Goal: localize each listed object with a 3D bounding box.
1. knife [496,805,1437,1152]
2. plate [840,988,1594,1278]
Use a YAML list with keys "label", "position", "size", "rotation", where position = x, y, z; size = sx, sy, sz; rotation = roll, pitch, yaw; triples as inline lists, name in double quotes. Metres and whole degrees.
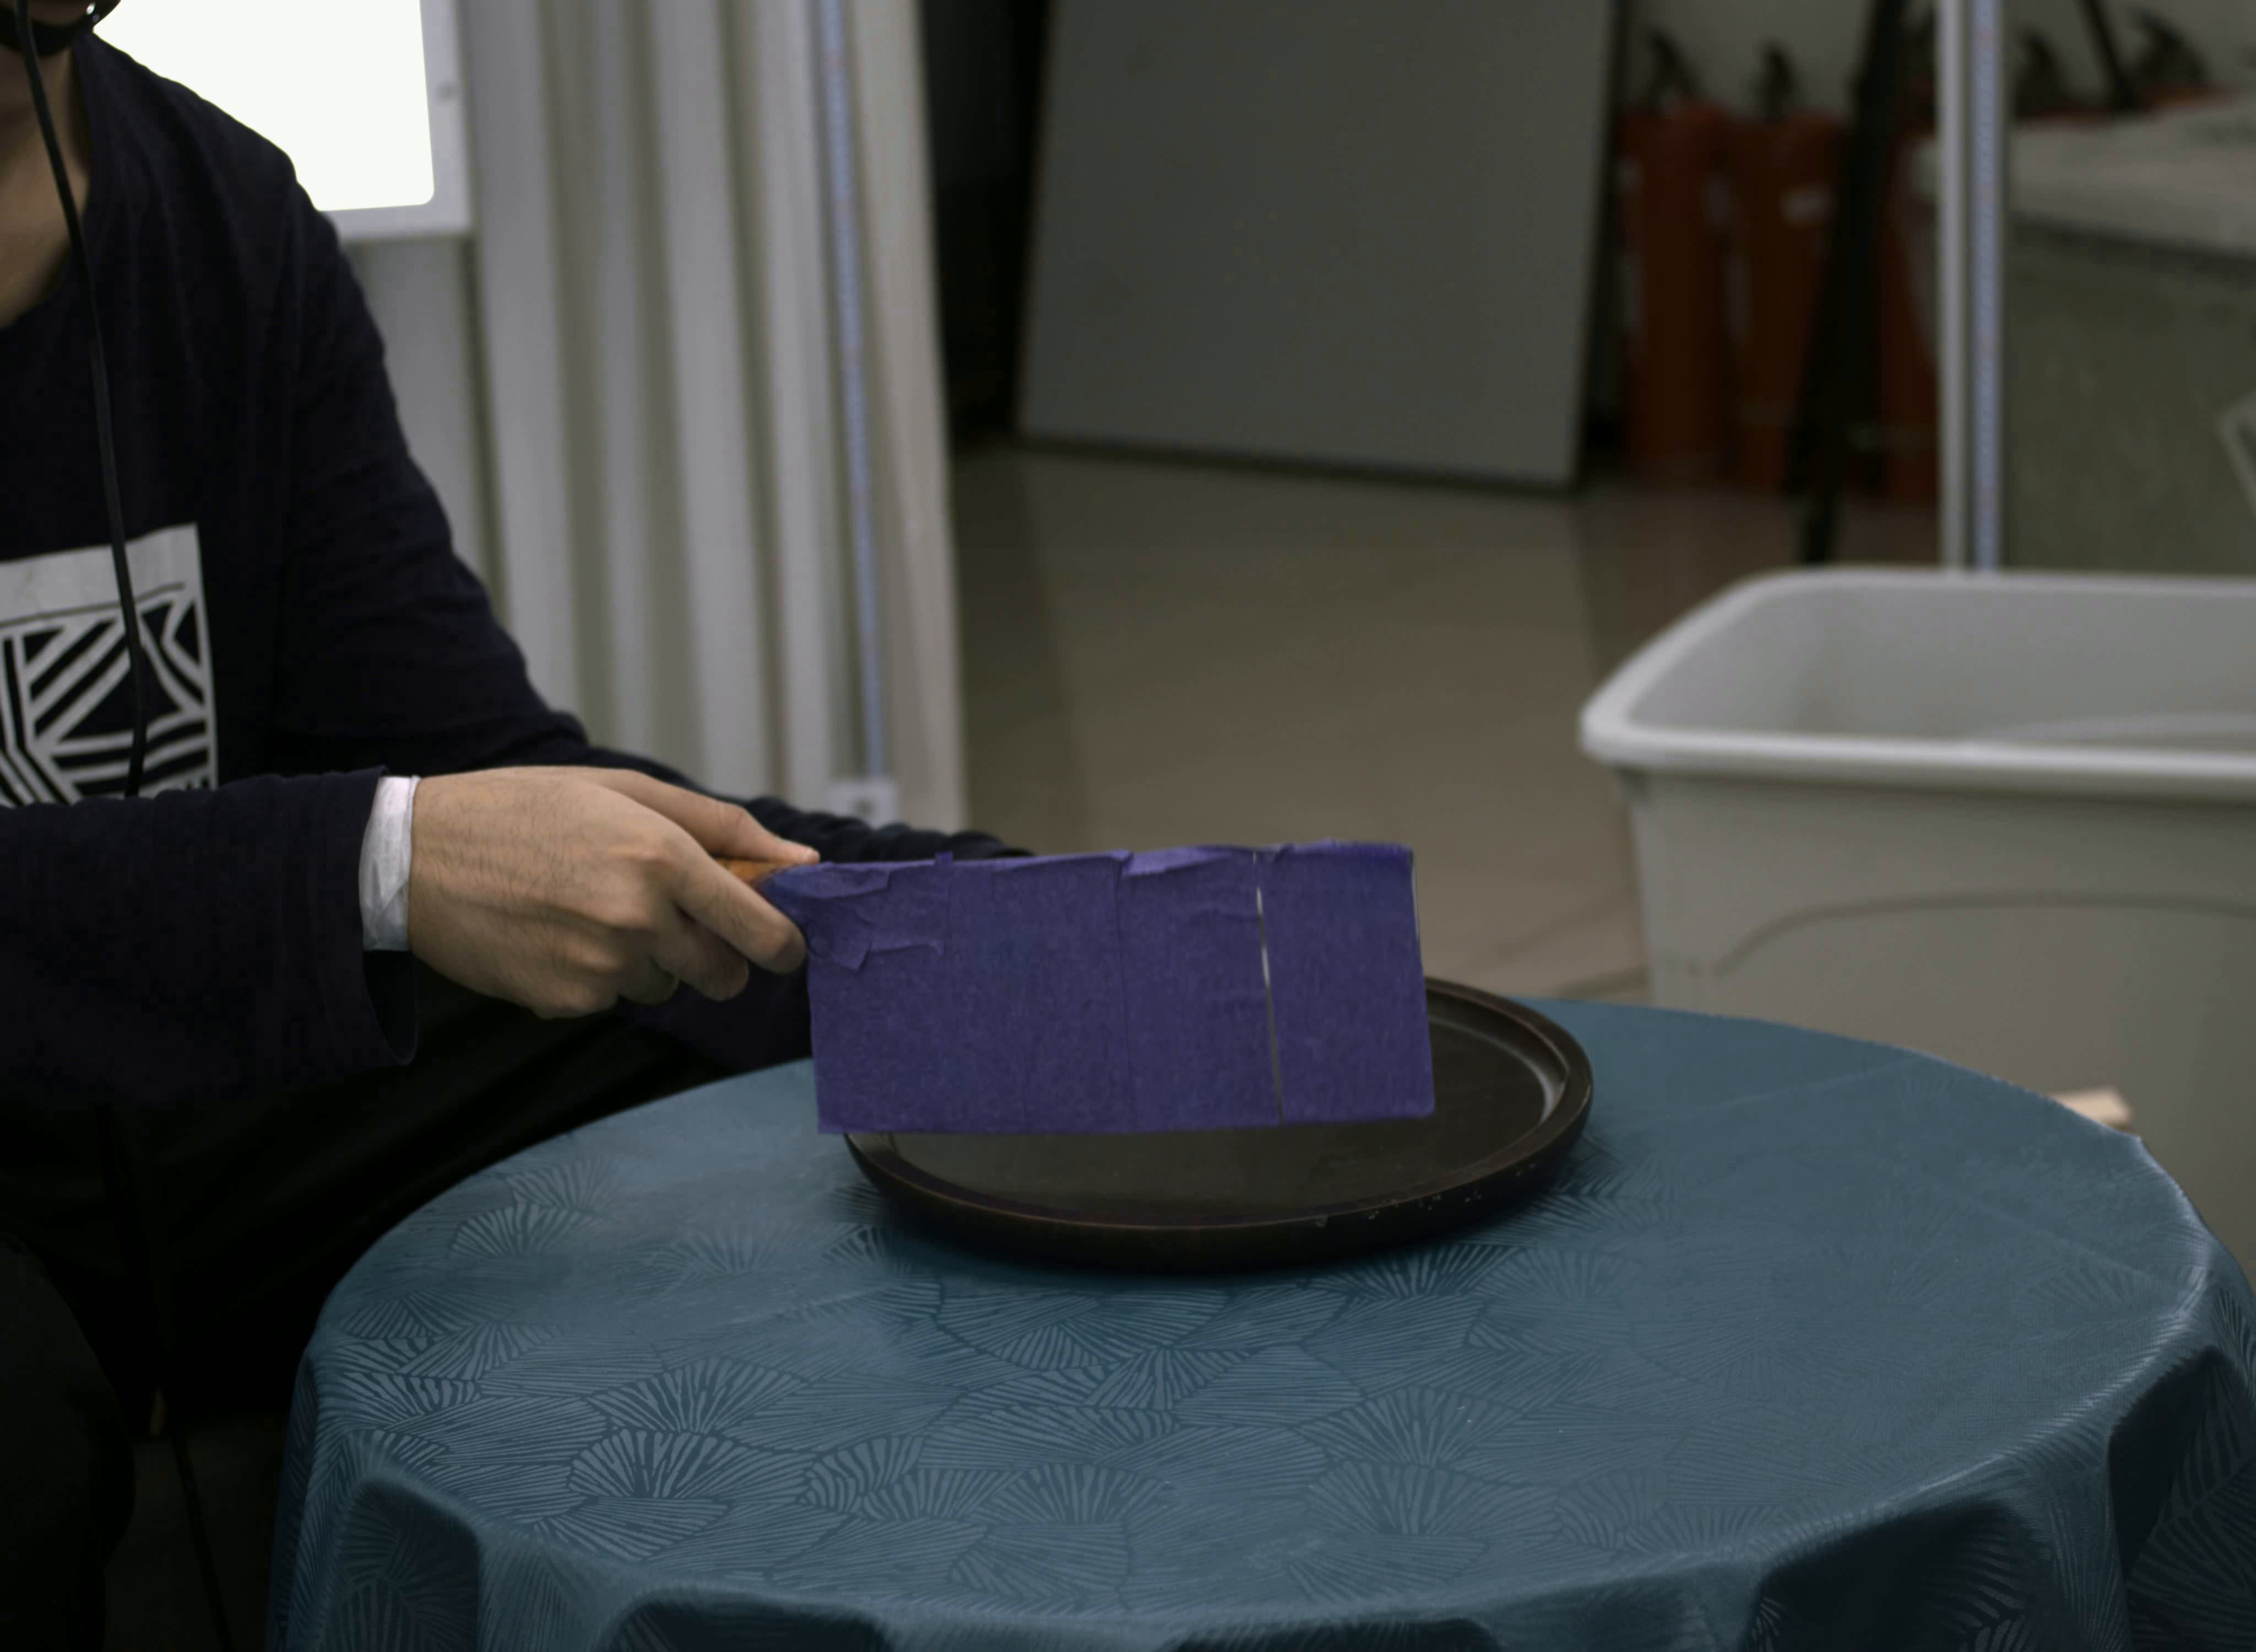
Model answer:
- label: "knife"
  position: [-0.054, 0.054, 1.738]
  size: [0.314, 0.105, 0.032]
  rotation: [-3, 3, 20]
- label: "plate"
  position: [0.030, 0.097, 1.789]
  size: [0.251, 0.029, 0.255]
  rotation: [-3, 18, 0]
